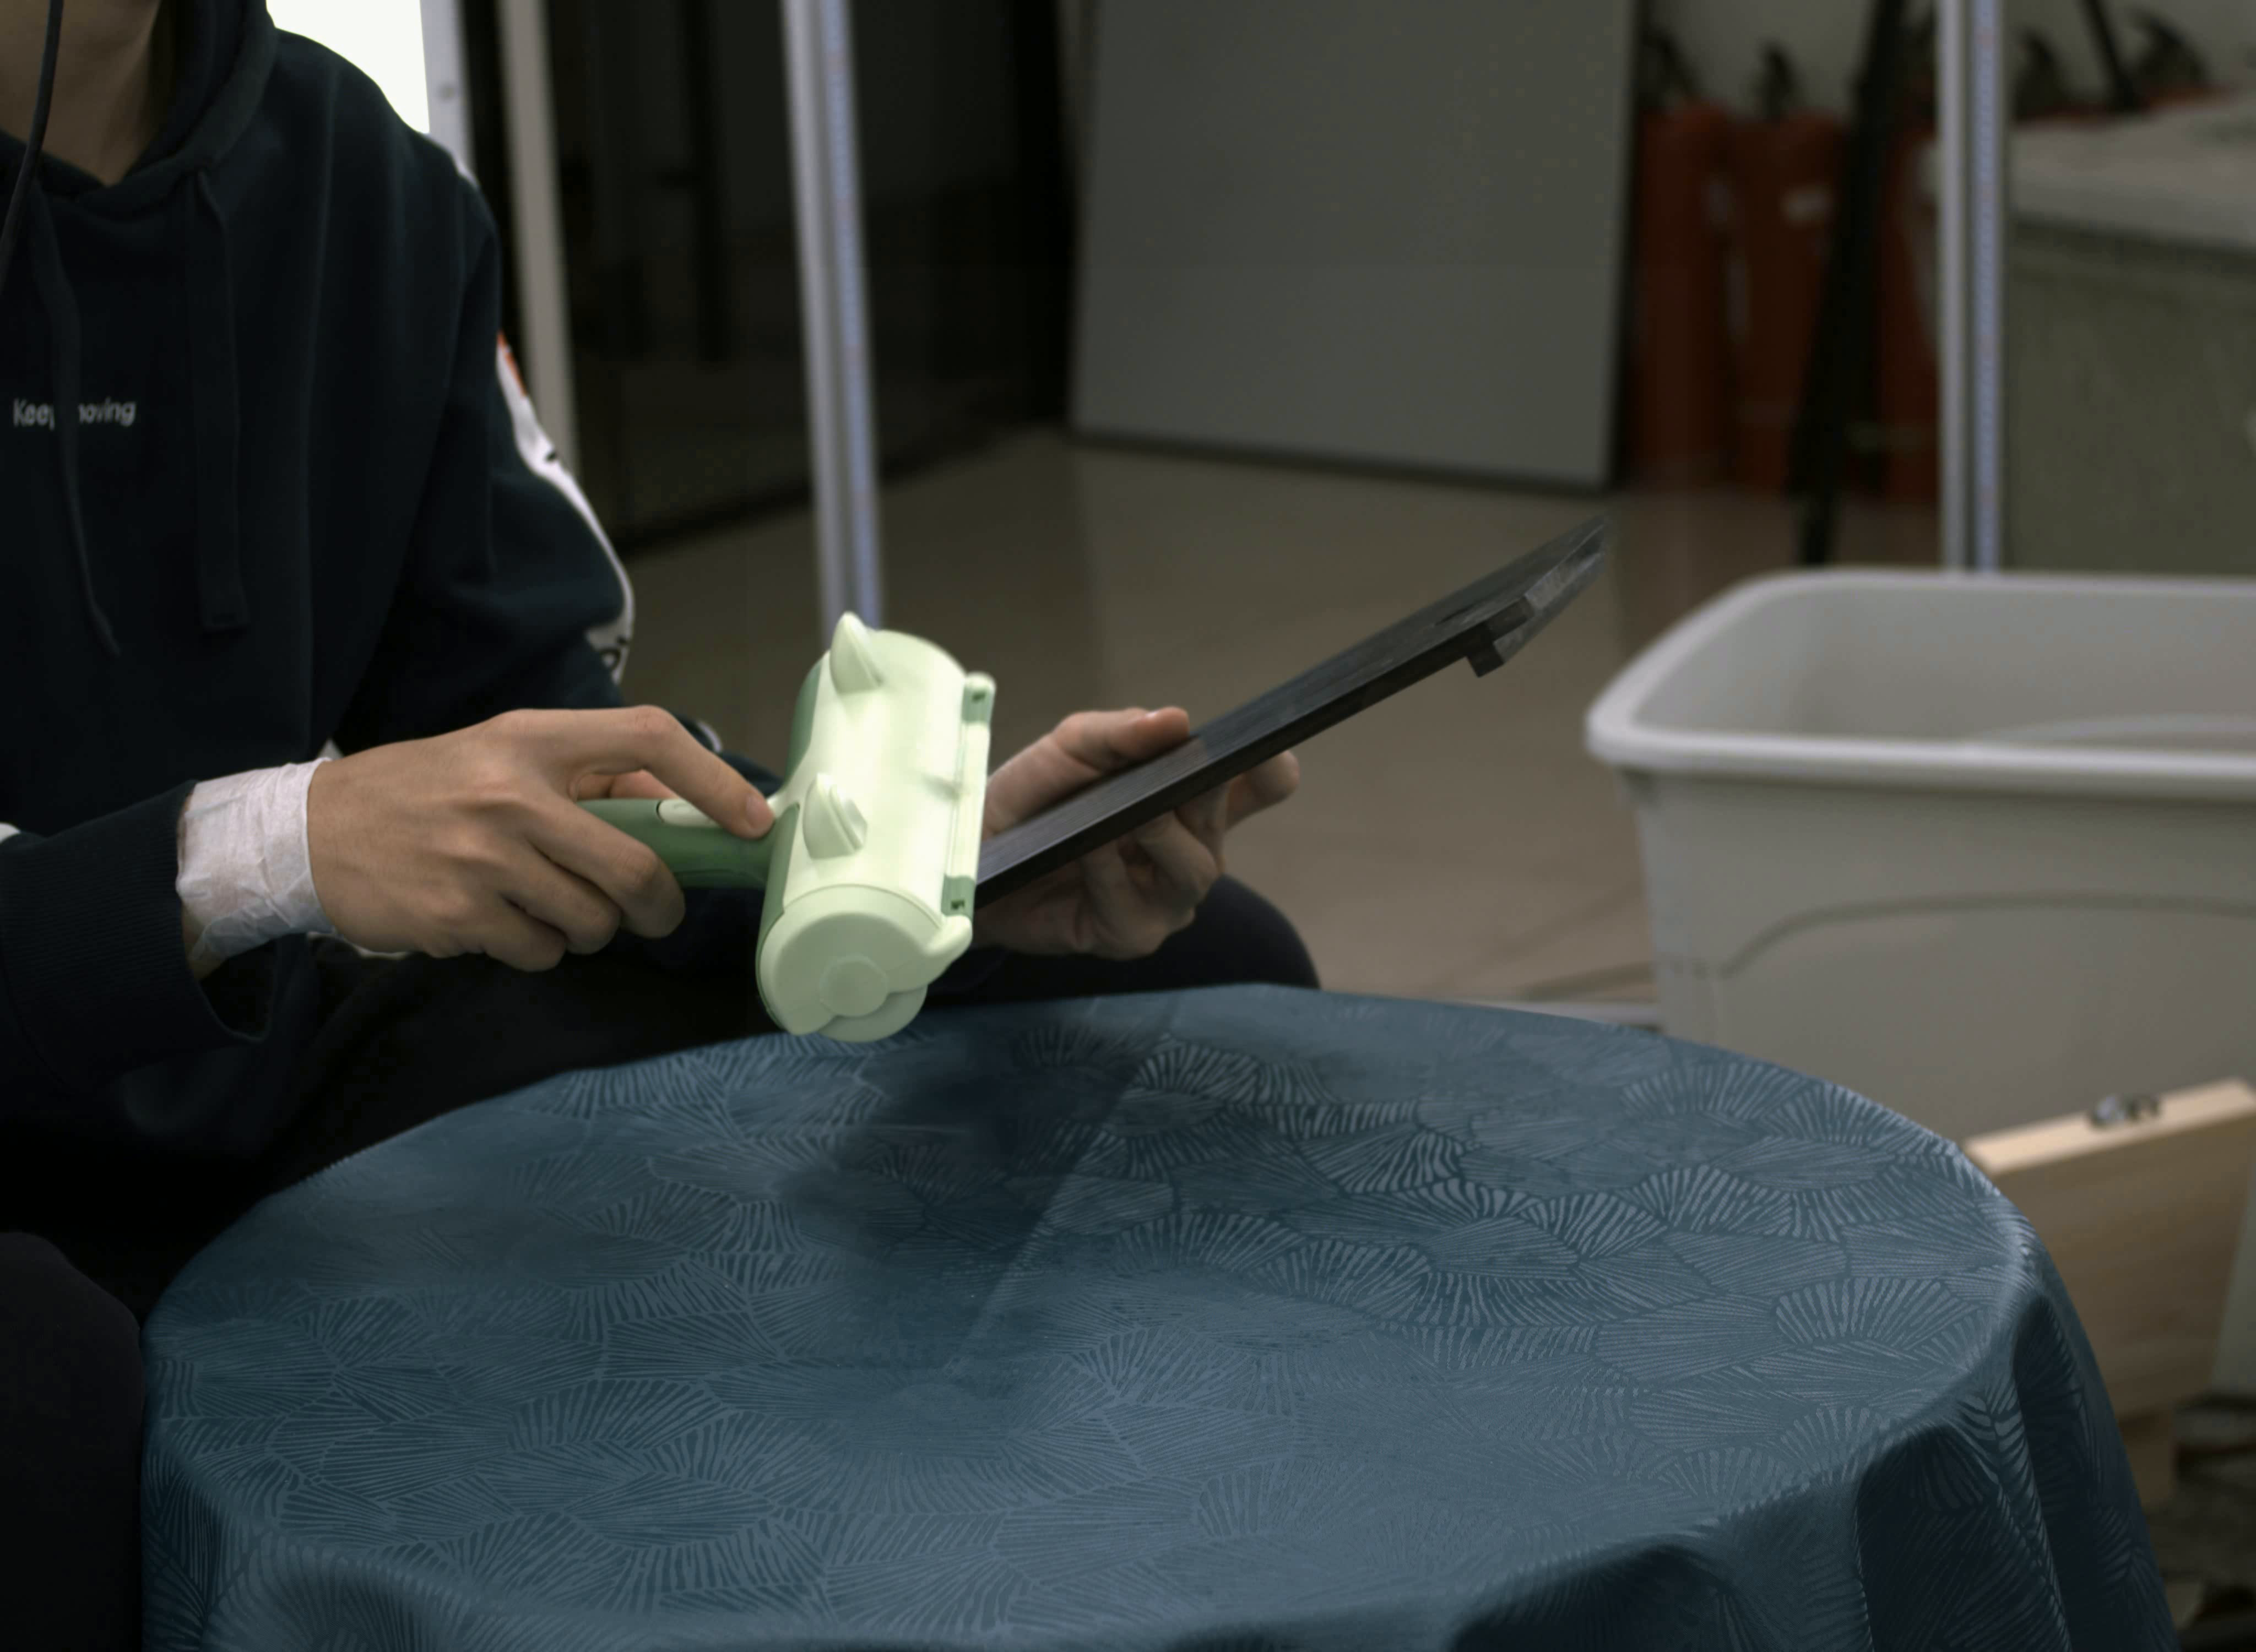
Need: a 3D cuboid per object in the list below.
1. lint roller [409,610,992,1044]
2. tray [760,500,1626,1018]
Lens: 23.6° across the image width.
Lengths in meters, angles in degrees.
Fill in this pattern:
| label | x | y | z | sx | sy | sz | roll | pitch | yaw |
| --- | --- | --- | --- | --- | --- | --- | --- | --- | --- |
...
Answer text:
| label | x | y | z | sx | sy | sz | roll | pitch | yaw |
| --- | --- | --- | --- | --- | --- | --- | --- | --- | --- |
| lint roller | -0.137 | -0.008 | 1.710 | 0.181 | 0.083 | 0.199 | 3 | 26 | 1 |
| tray | 0.025 | -0.019 | 1.814 | 0.307 | 0.019 | 0.168 | -29 | 4 | 23 |
